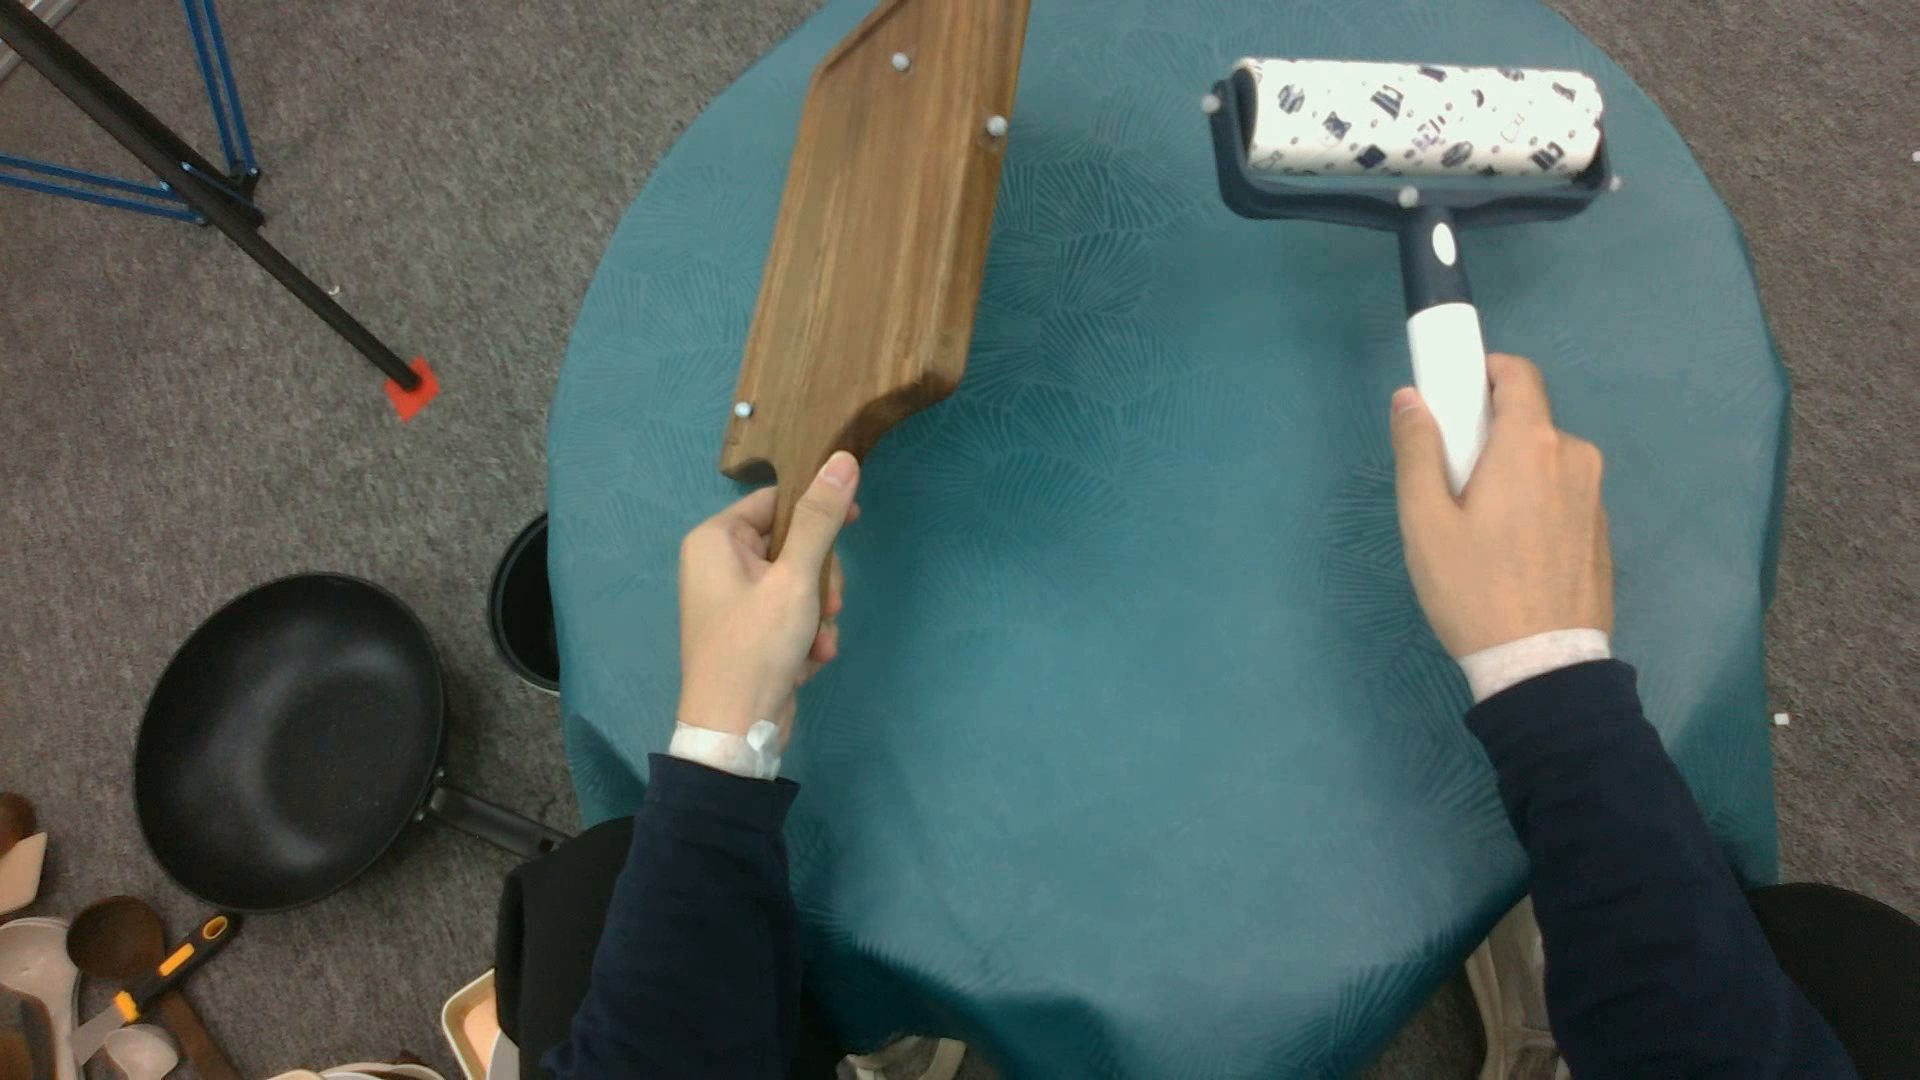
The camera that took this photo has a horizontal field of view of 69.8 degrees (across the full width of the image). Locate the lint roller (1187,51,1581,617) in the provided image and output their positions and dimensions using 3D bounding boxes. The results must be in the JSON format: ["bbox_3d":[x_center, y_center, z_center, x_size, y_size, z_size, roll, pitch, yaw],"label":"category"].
[{"bbox_3d":[0.198,-0.092,0.581,0.176,0.050,0.247,-4,76,-14],"label":"lint roller"}]

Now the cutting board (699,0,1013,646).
[{"bbox_3d":[-0.058,-0.121,0.643,0.200,0.023,0.353,-17,58,52],"label":"cutting board"}]
